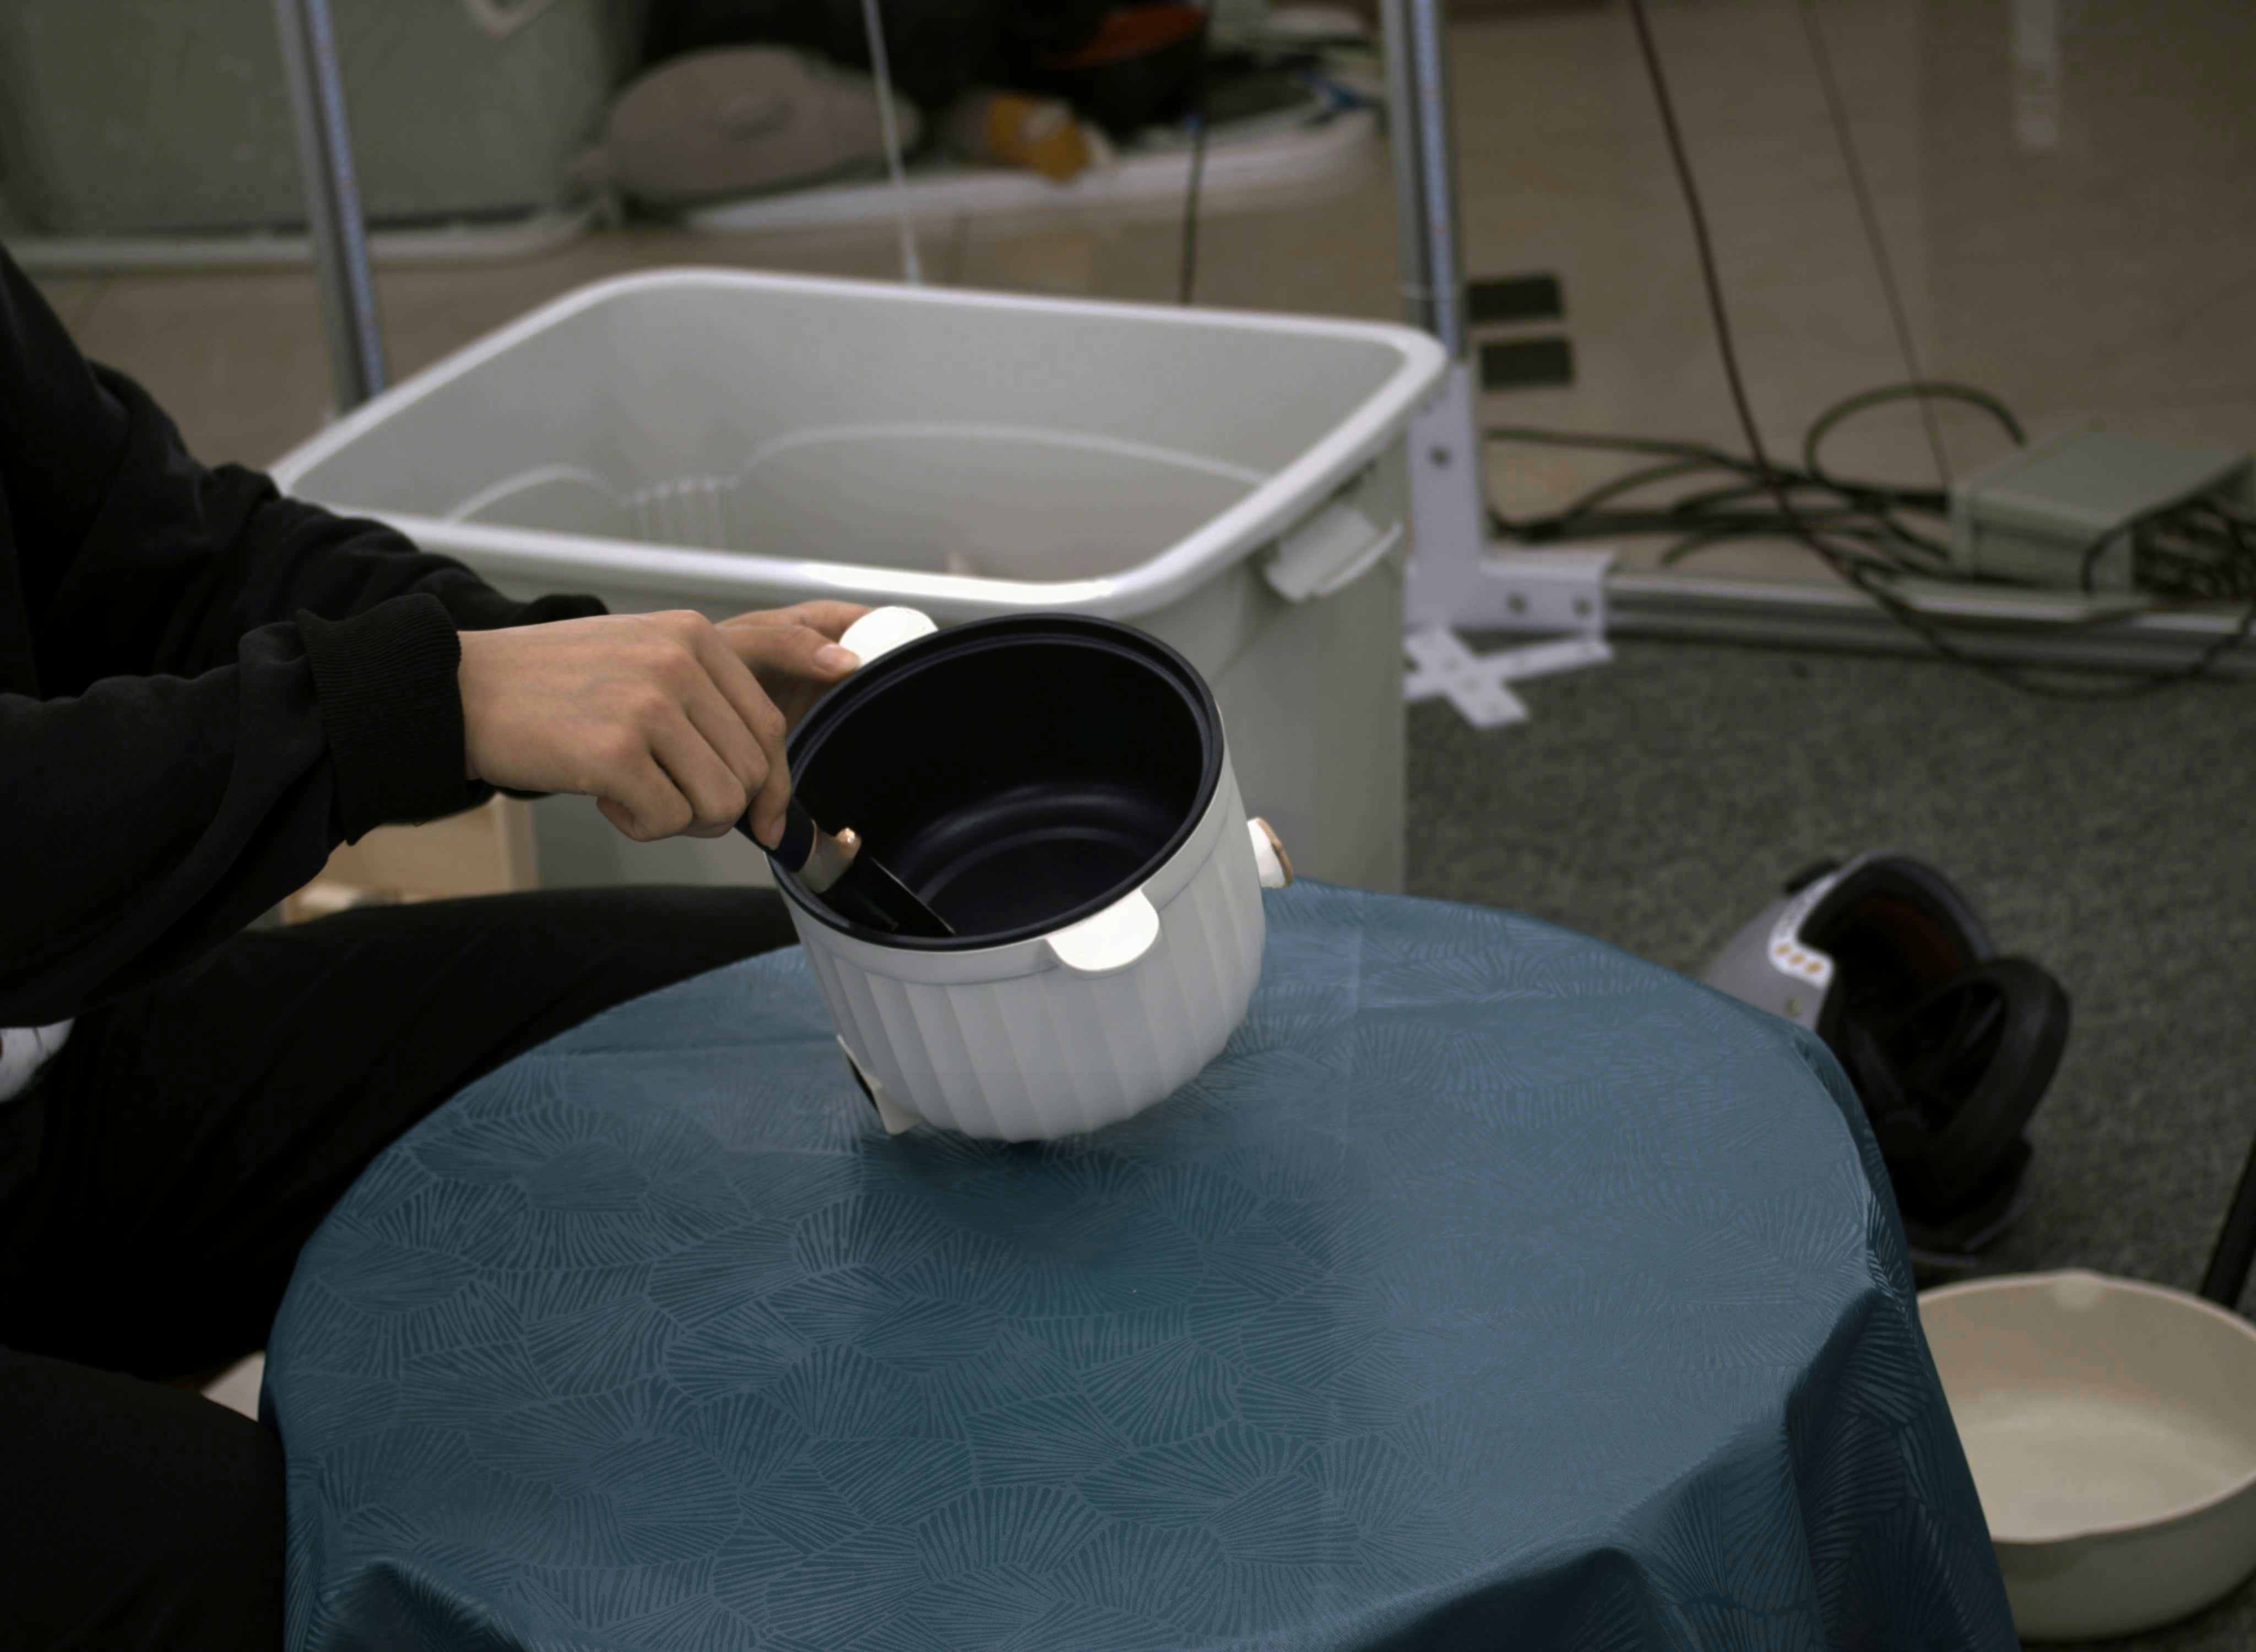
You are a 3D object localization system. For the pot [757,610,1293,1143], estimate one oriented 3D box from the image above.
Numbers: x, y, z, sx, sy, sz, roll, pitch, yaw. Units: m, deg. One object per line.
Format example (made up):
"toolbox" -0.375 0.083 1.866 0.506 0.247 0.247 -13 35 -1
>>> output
"pot" -0.034 0.024 2.195 0.190 0.145 0.236 -30 46 -8

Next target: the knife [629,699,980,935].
"knife" -0.107 0.014 2.099 0.017 0.228 0.026 18 74 48
